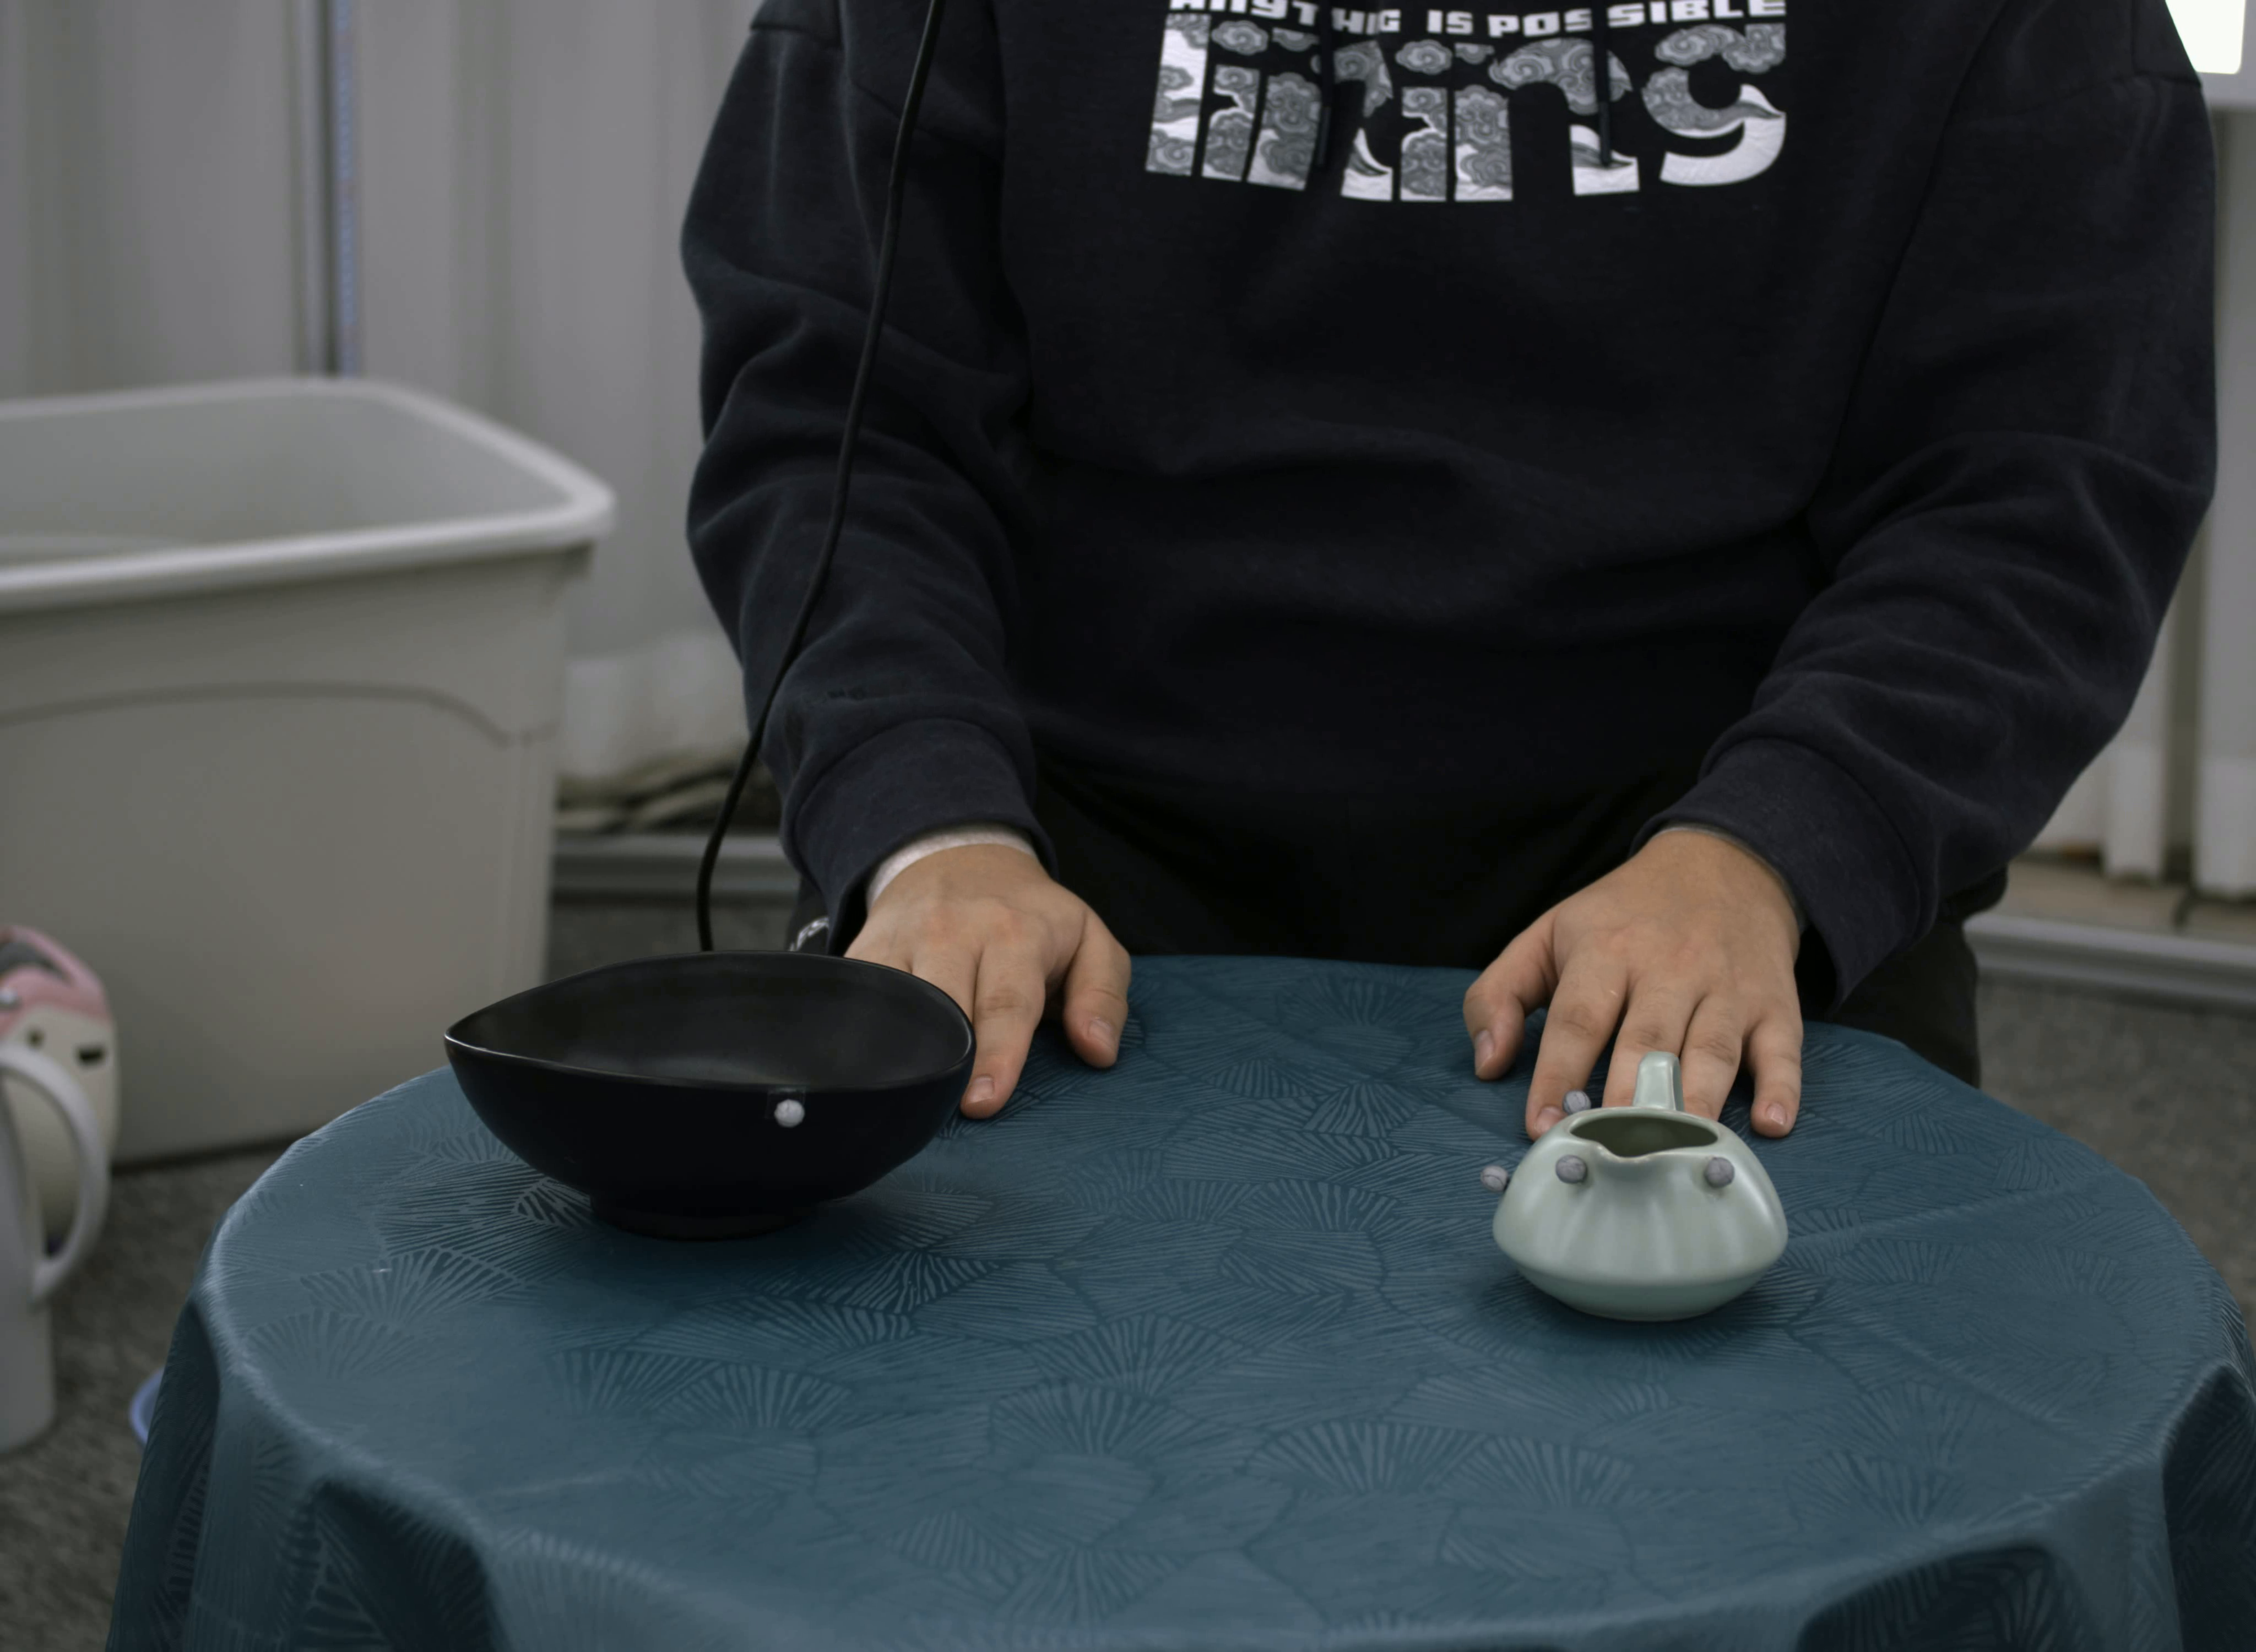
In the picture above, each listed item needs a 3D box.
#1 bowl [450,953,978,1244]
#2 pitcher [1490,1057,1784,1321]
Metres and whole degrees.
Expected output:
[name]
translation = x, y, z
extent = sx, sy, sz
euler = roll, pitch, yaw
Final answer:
[bowl]
translation = -0.127, 0.086, 1.597
extent = 0.168, 0.067, 0.137
euler = 6, 16, 23
[pitcher]
translation = 0.151, 0.107, 1.549
extent = 0.085, 0.061, 0.108
euler = 4, 14, 9
